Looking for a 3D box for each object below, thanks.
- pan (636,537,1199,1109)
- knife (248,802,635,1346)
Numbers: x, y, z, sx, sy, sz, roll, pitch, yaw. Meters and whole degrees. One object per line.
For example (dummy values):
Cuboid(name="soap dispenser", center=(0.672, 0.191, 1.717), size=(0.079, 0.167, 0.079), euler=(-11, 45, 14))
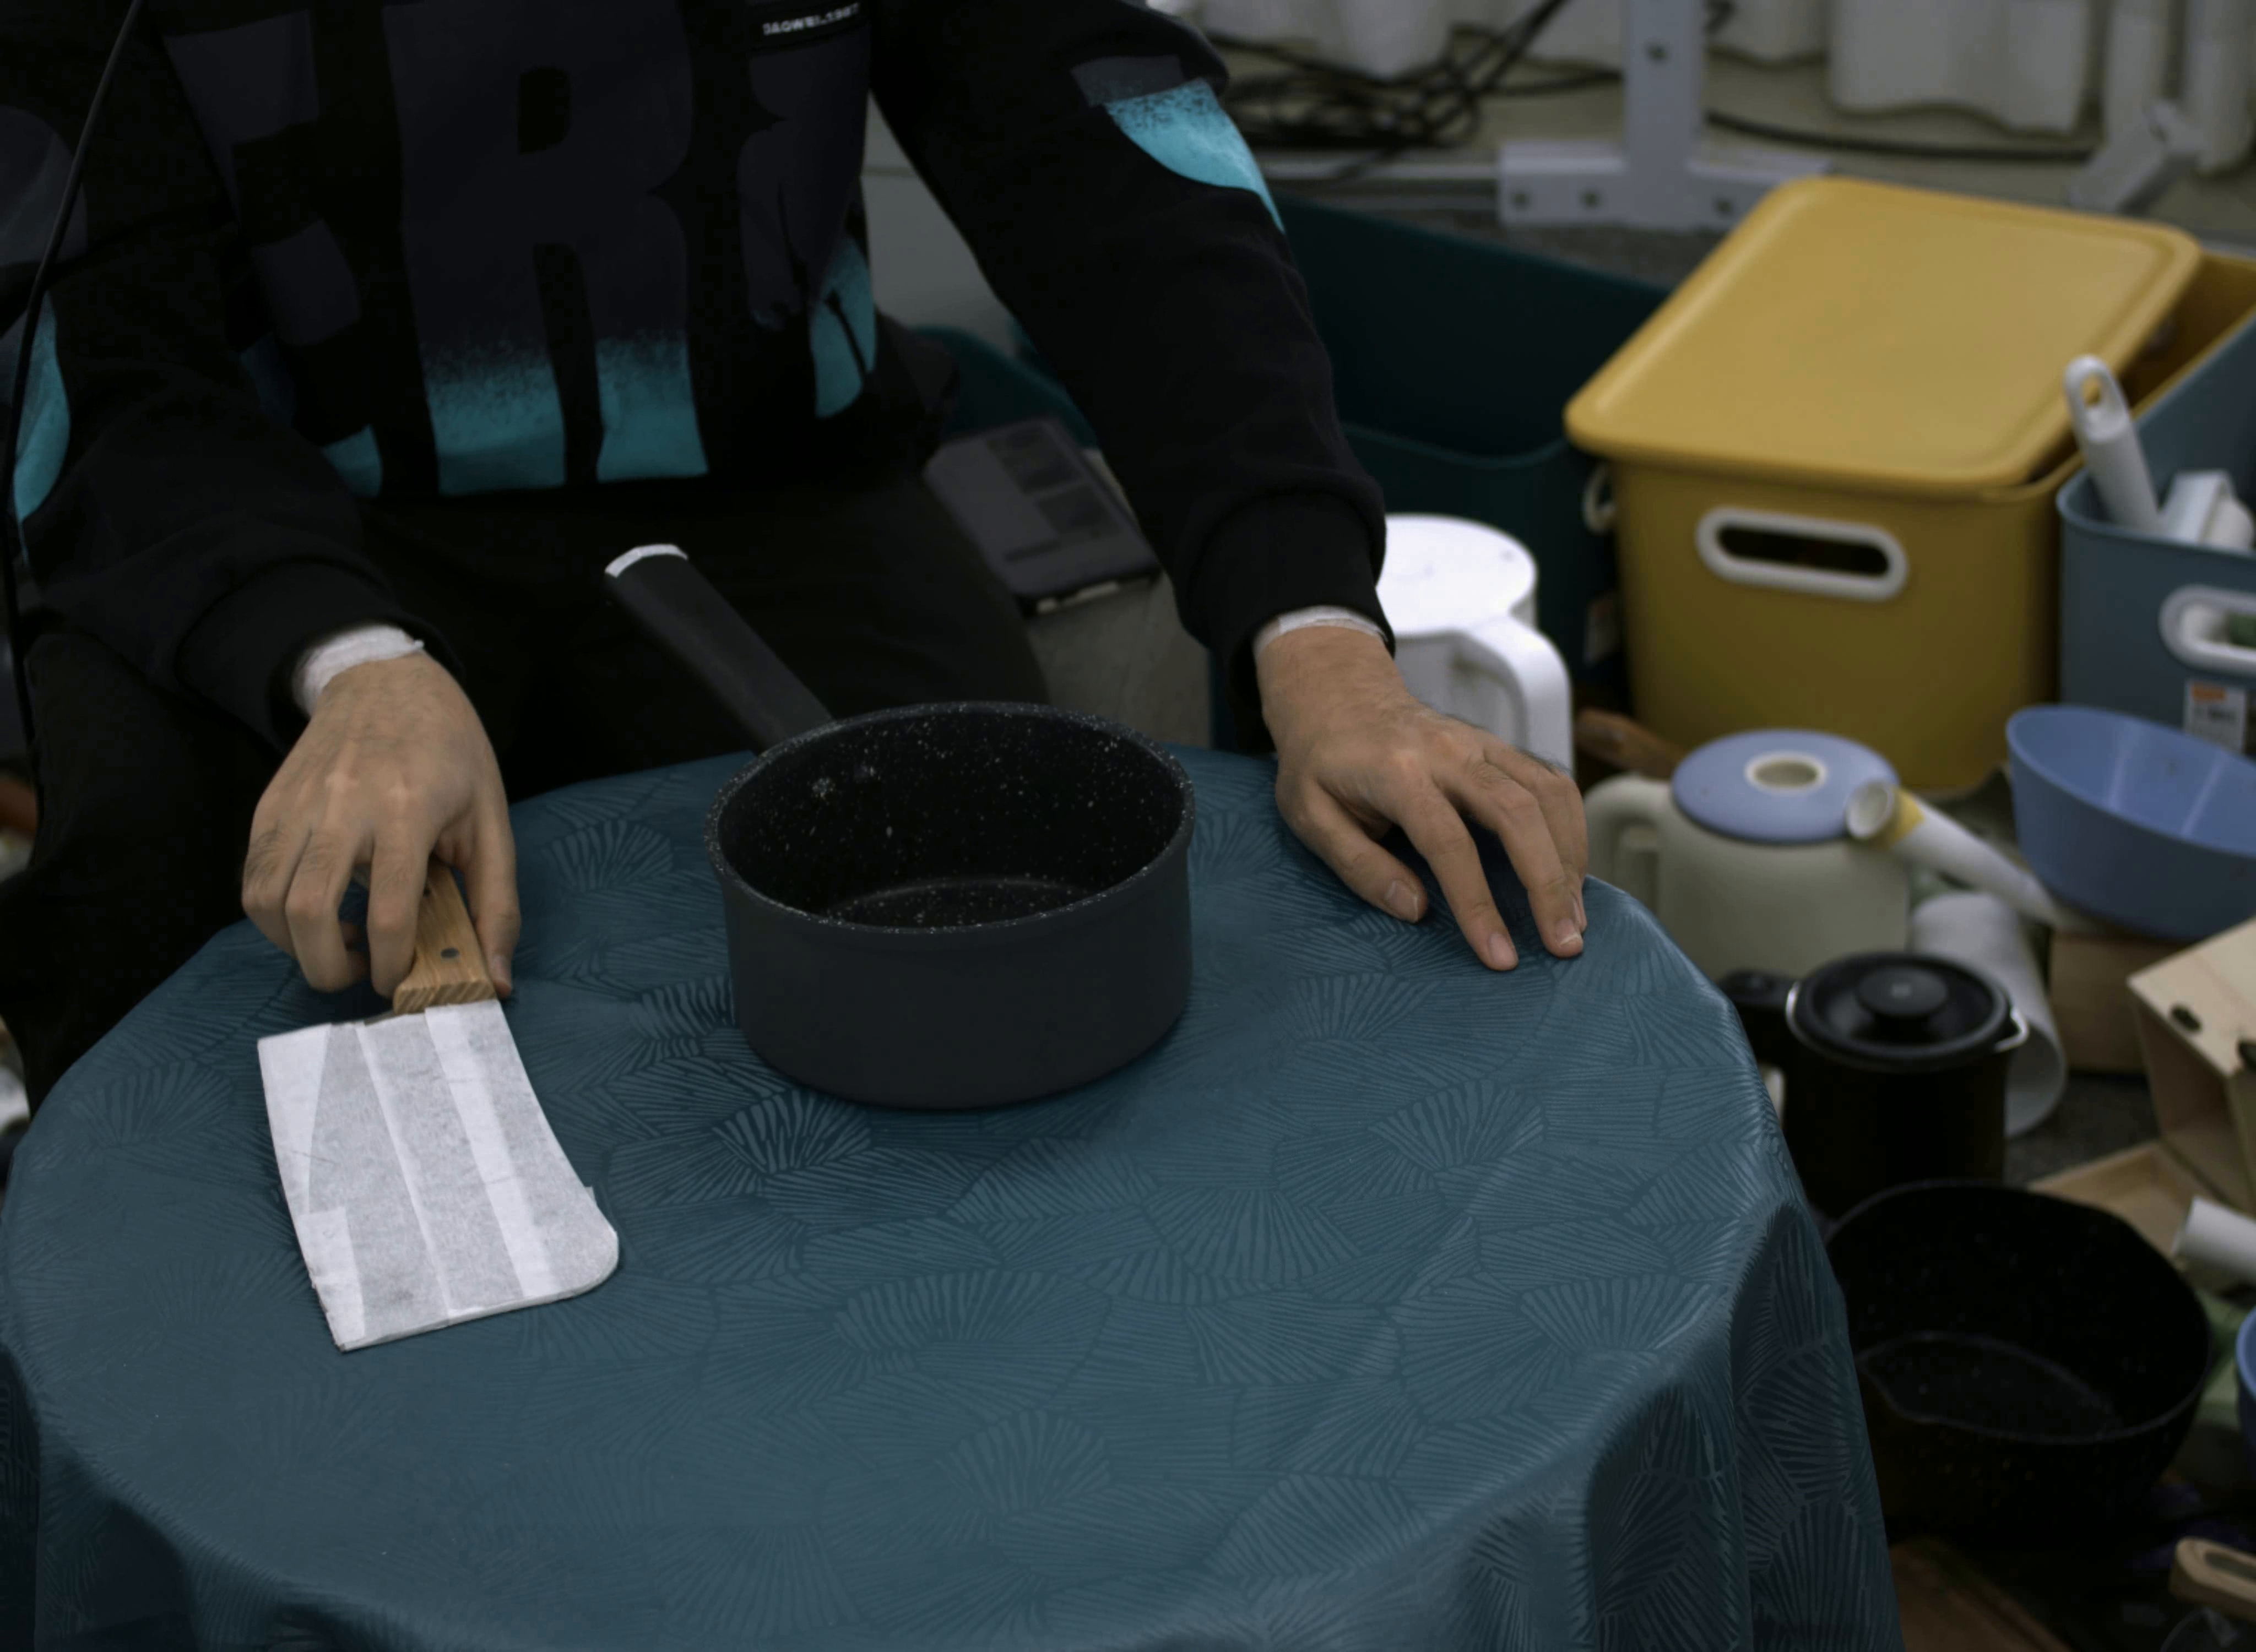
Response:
Cuboid(name="pan", center=(-0.097, -0.005, 2.026), size=(0.173, 0.085, 0.330), euler=(-14, 30, -25))
Cuboid(name="knife", center=(-0.244, 0.081, 1.935), size=(0.114, 0.021, 0.319), euler=(-8, 32, -10))
